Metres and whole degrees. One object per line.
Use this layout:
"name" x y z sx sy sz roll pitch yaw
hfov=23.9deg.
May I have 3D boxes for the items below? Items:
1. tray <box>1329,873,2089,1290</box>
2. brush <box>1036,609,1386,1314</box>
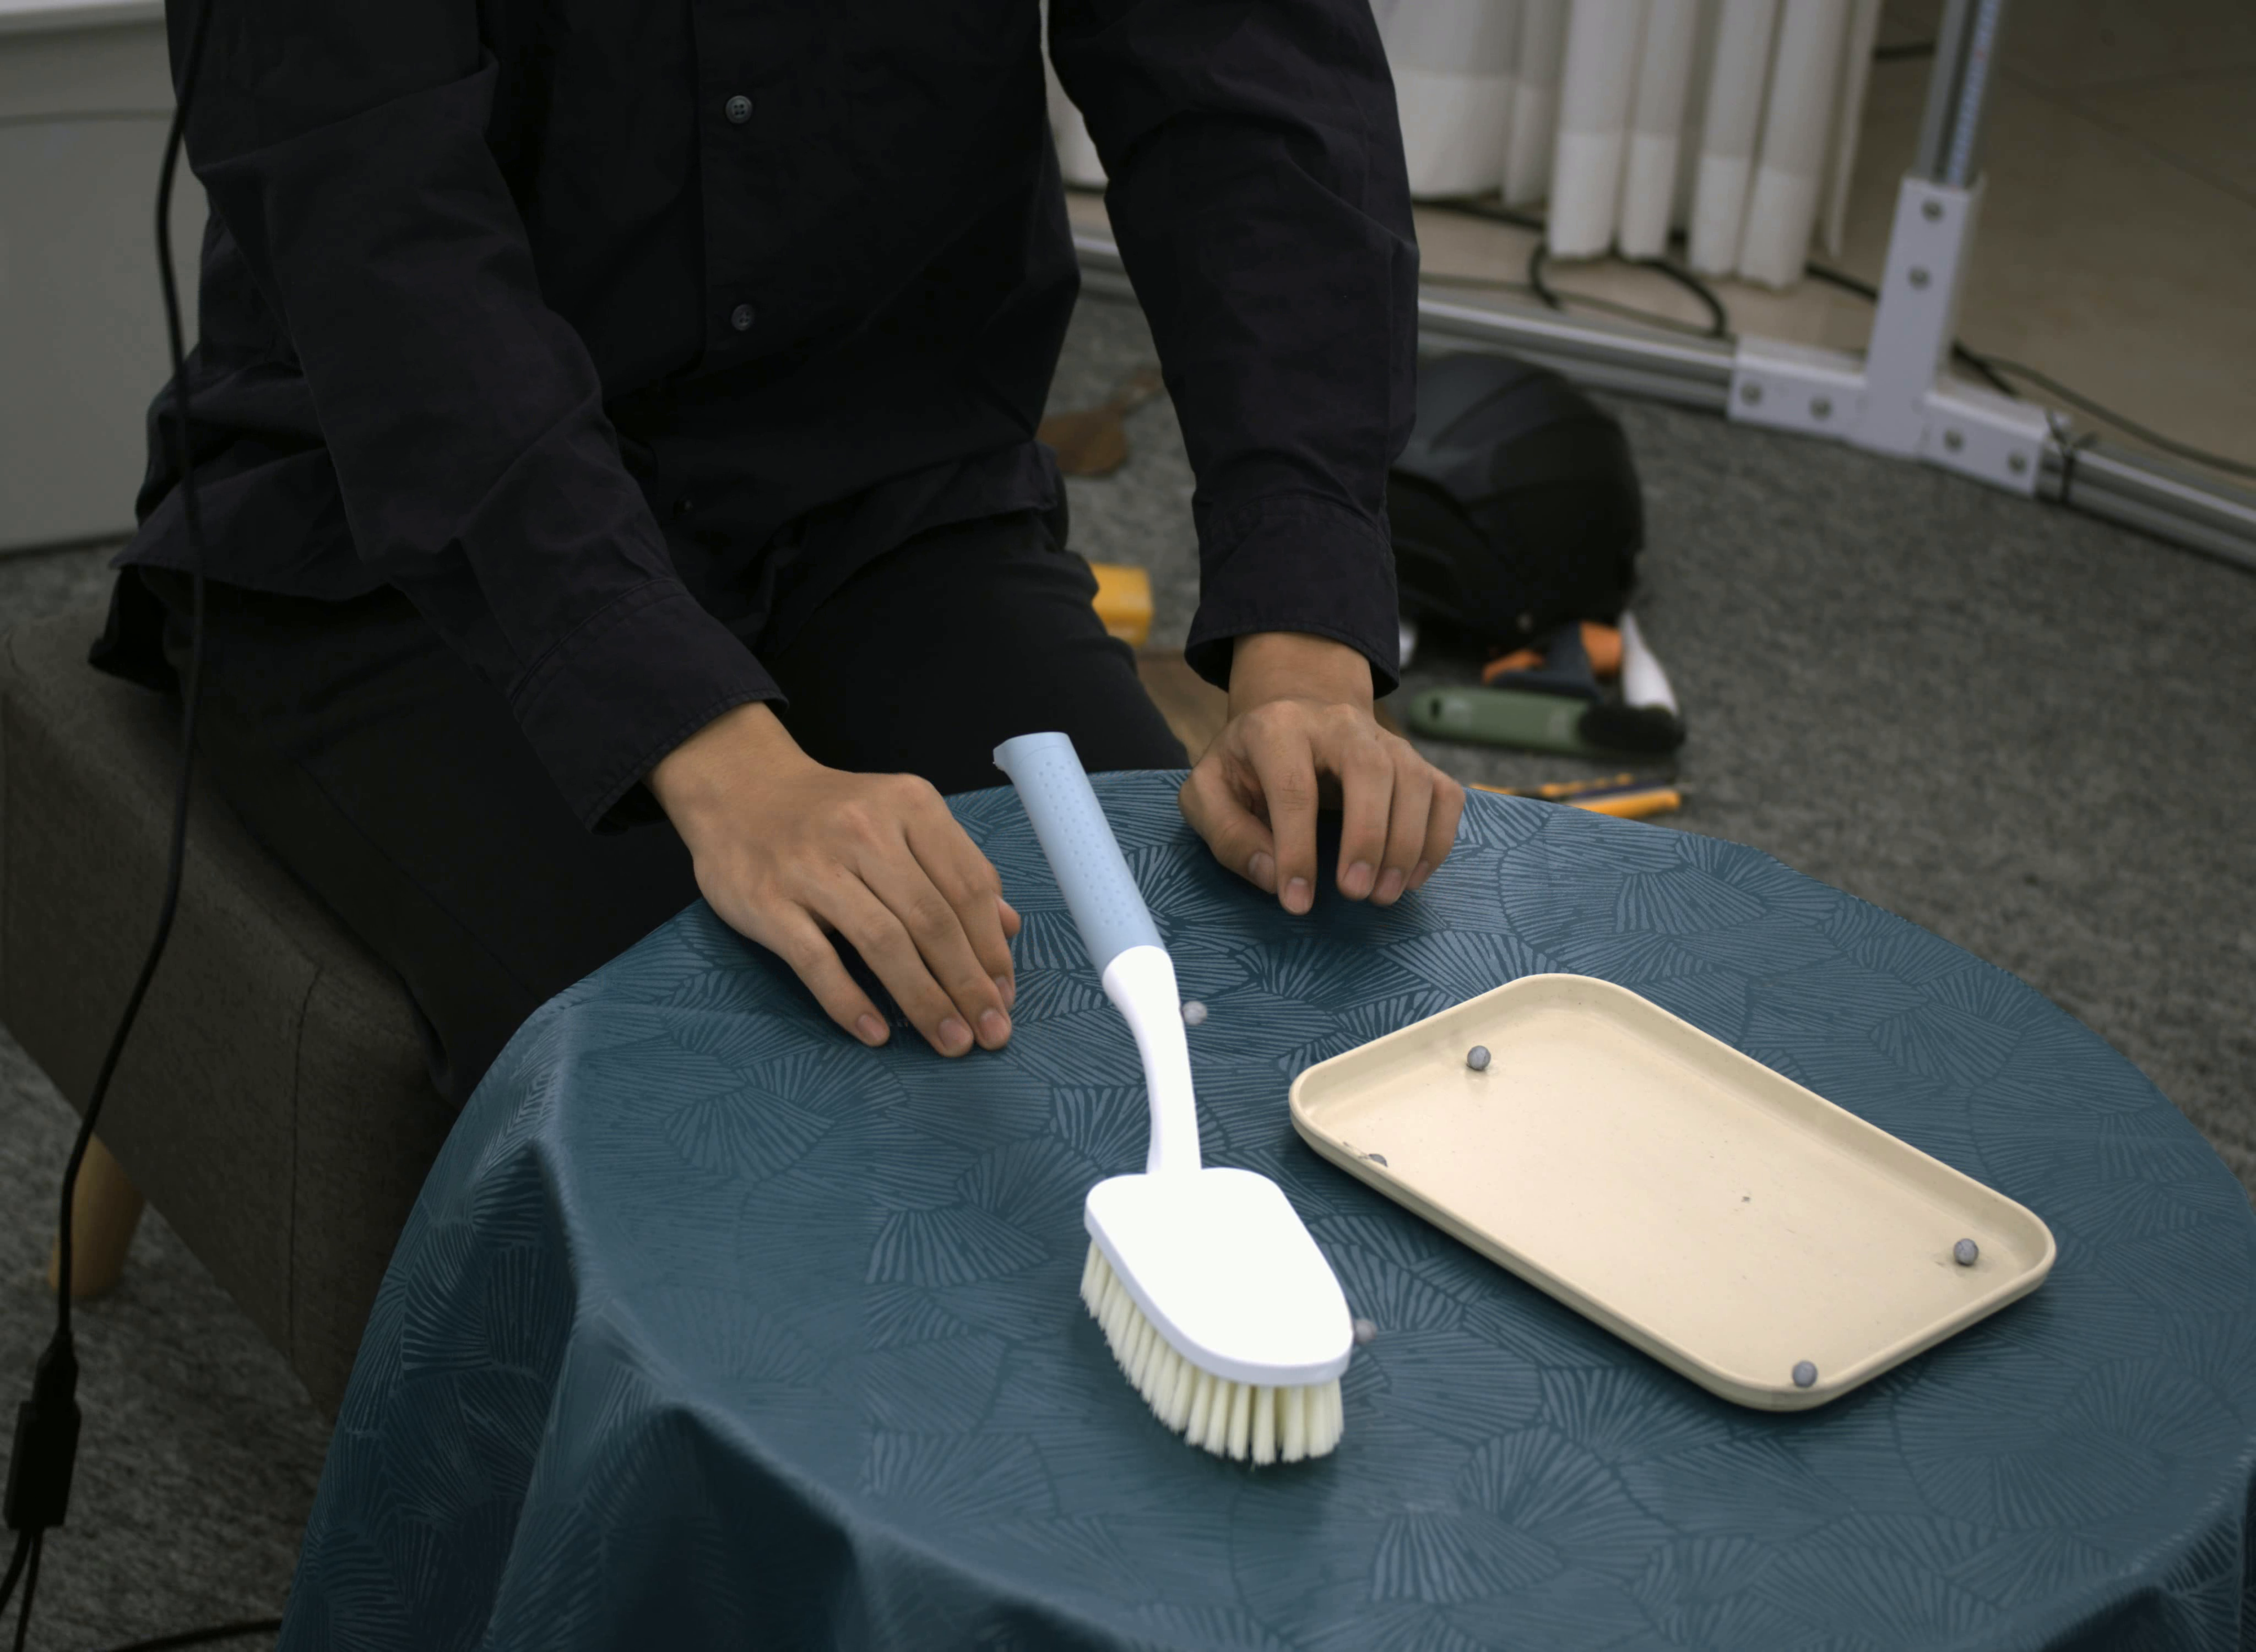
"tray" 0.199 0.087 1.844 0.170 0.017 0.241 -19 37 -41
"brush" 0.021 0.053 1.797 0.082 0.084 0.328 33 22 -39
